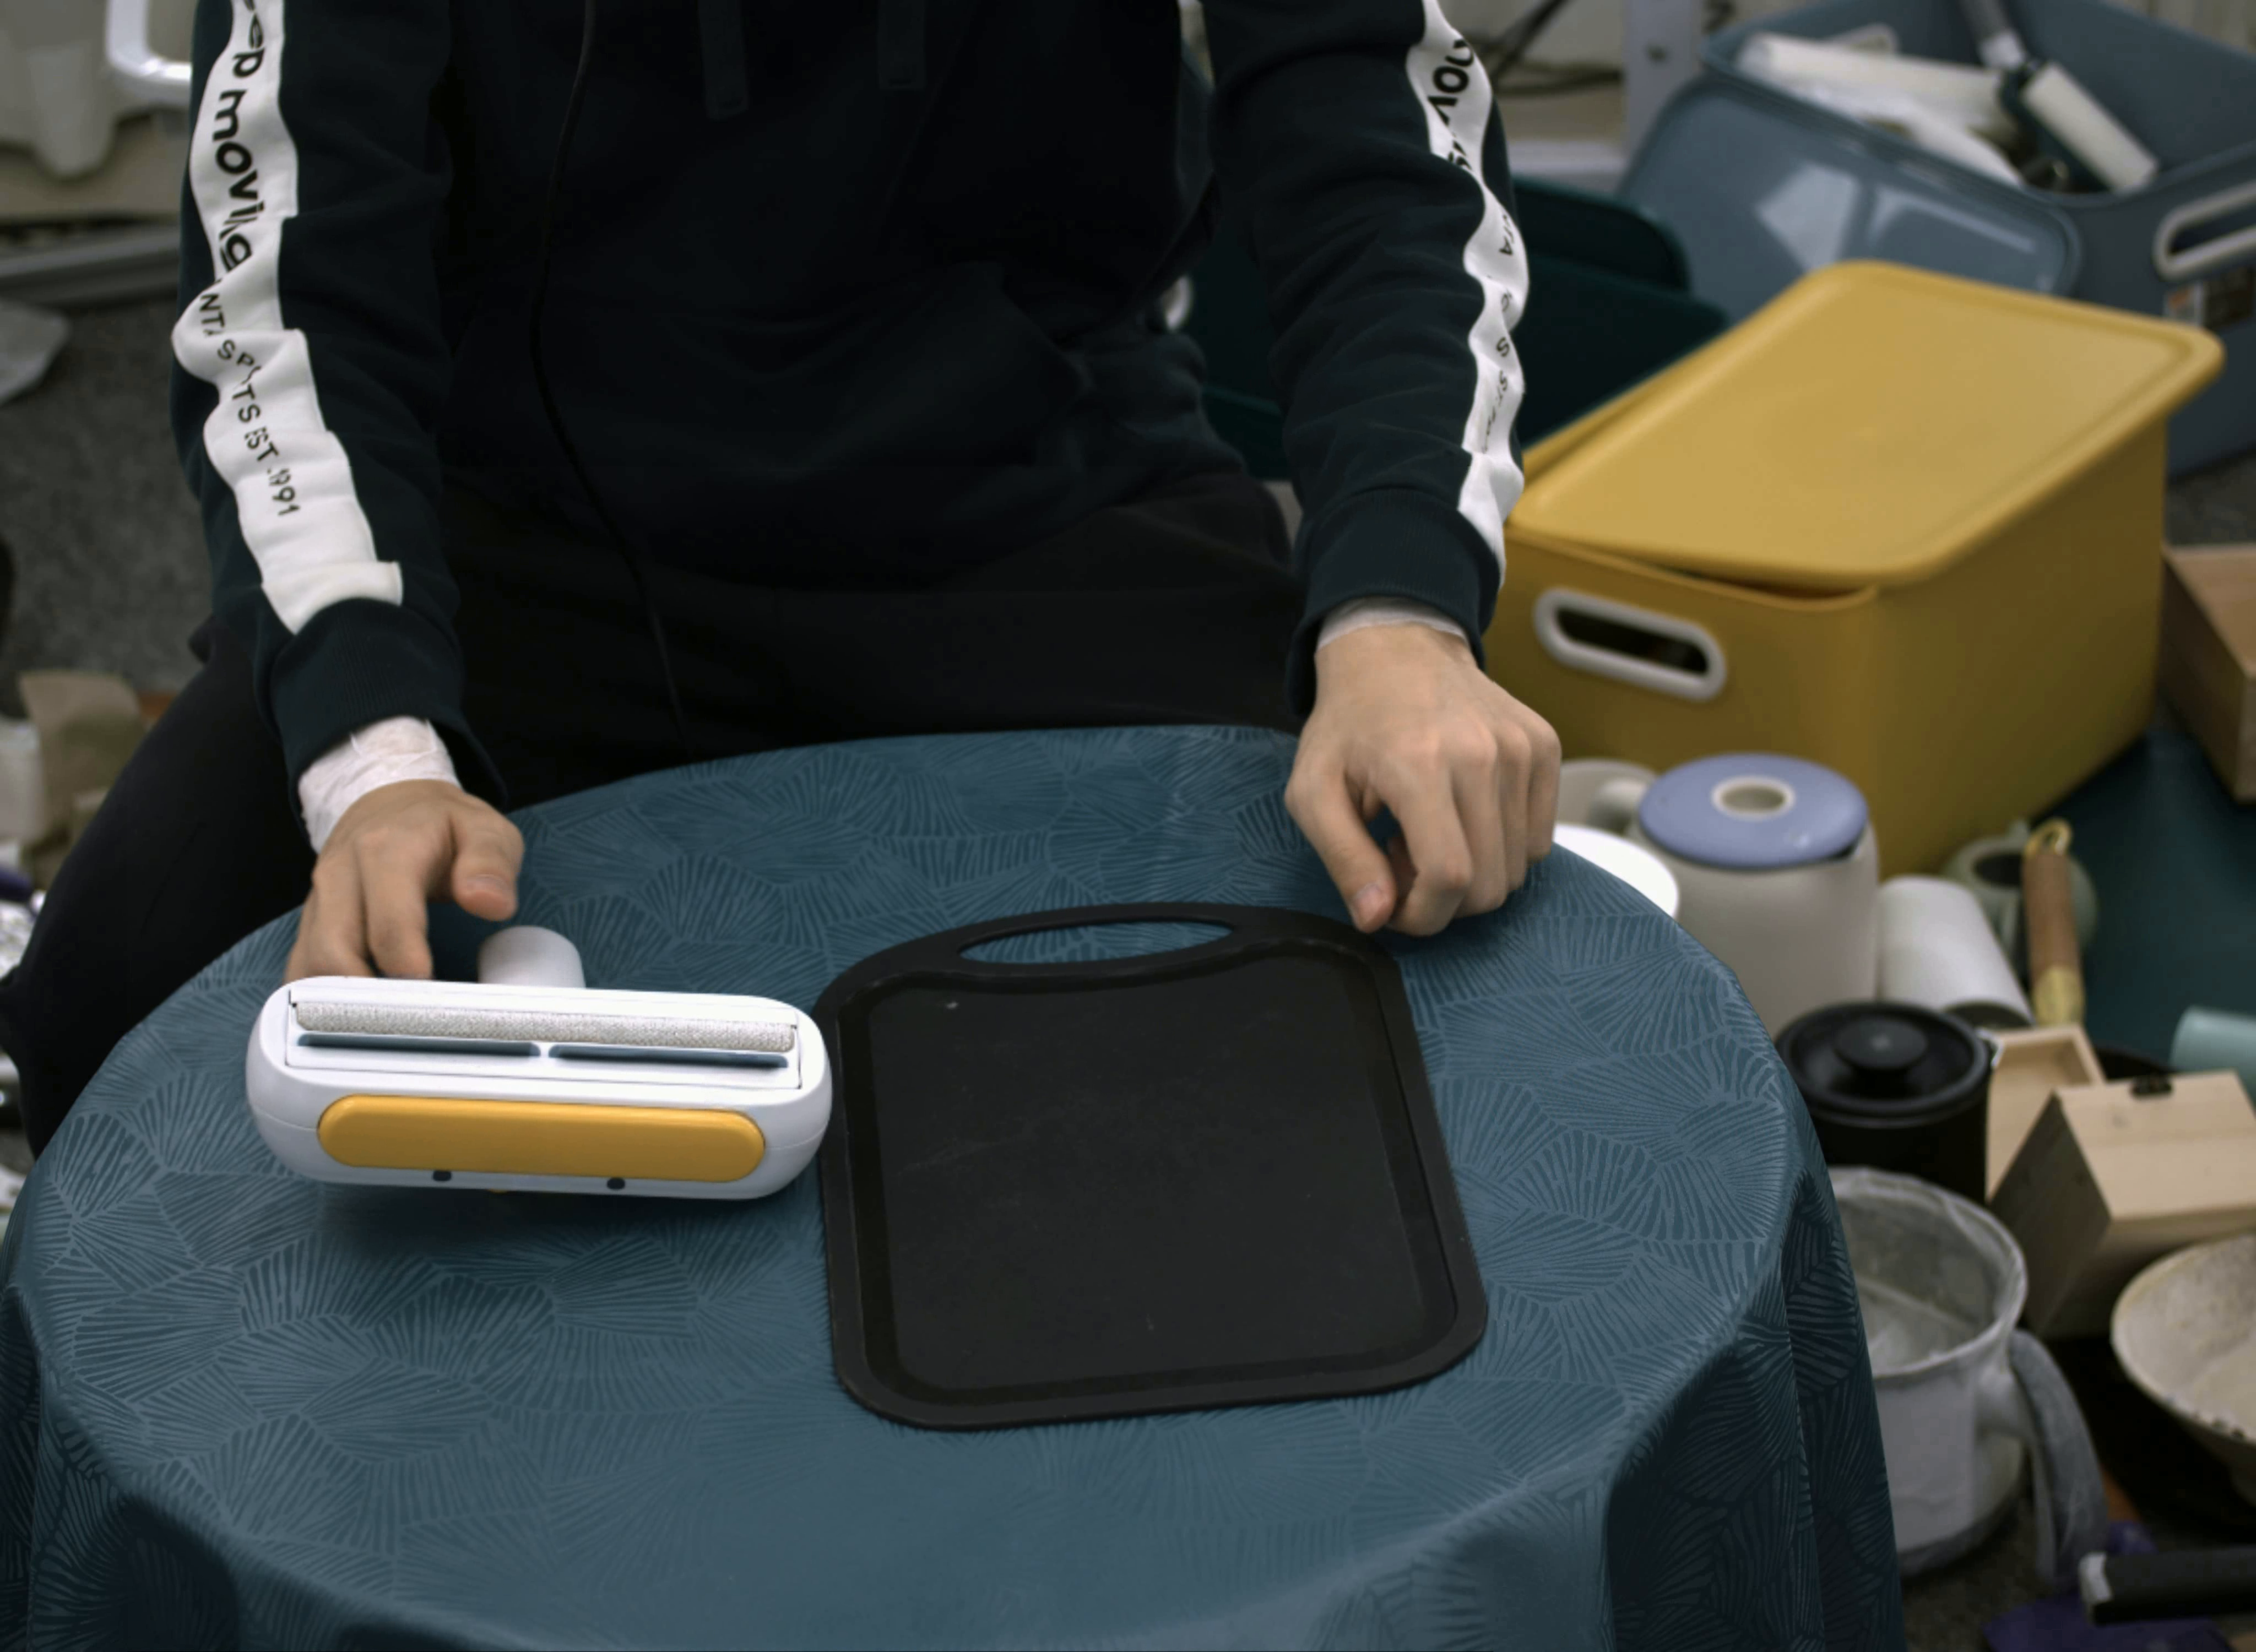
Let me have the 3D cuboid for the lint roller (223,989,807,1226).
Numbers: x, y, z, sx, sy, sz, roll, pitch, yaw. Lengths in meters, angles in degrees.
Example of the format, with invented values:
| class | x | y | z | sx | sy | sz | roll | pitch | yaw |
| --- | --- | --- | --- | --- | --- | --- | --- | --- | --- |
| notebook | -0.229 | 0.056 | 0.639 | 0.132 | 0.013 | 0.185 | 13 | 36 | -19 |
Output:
| class | x | y | z | sx | sy | sz | roll | pitch | yaw |
| --- | --- | --- | --- | --- | --- | --- | --- | --- | --- |
| lint roller | -0.204 | 0.086 | 1.916 | 0.192 | 0.074 | 0.194 | 3 | 13 | -3 |

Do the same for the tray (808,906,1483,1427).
| class | x | y | z | sx | sy | sz | roll | pitch | yaw |
| --- | --- | --- | --- | --- | --- | --- | --- | --- | --- |
| tray | -0.001 | 0.105 | 1.885 | 0.210 | 0.009 | 0.330 | -4 | 28 | -3 |
